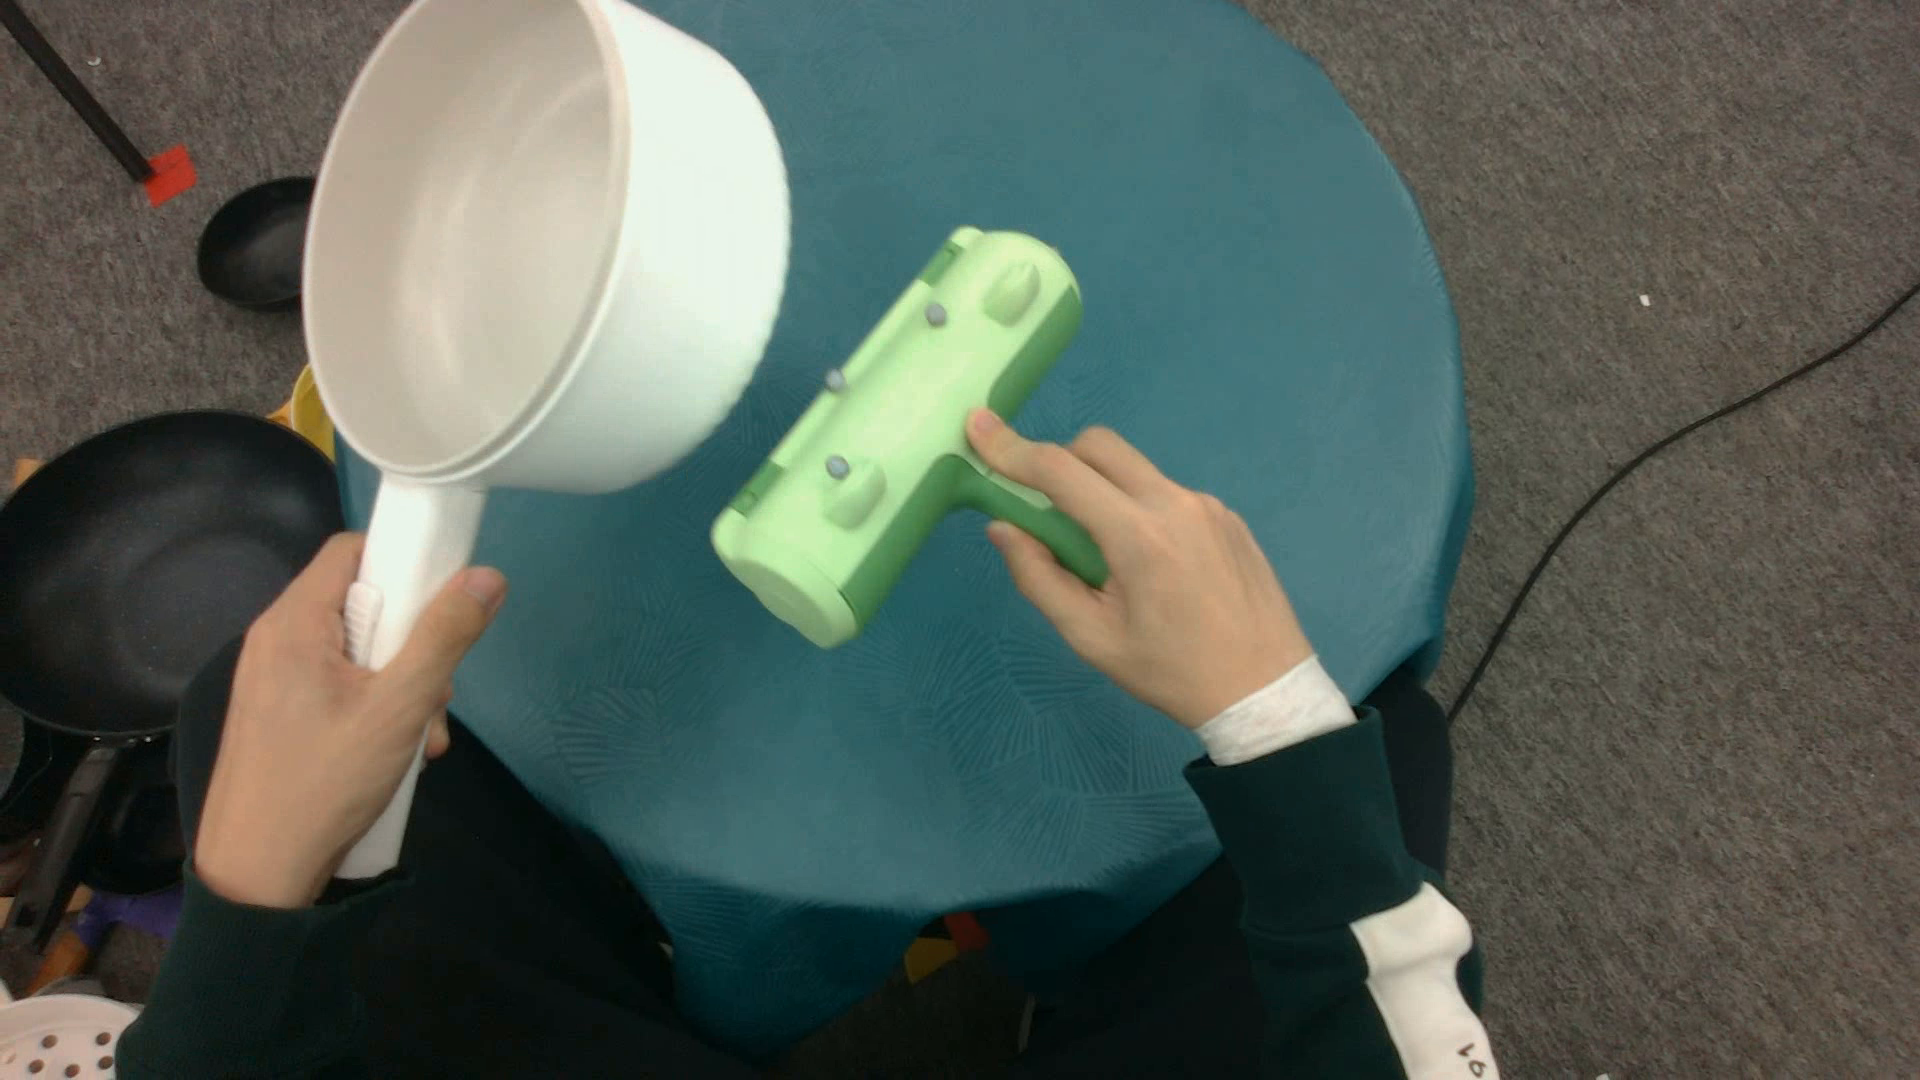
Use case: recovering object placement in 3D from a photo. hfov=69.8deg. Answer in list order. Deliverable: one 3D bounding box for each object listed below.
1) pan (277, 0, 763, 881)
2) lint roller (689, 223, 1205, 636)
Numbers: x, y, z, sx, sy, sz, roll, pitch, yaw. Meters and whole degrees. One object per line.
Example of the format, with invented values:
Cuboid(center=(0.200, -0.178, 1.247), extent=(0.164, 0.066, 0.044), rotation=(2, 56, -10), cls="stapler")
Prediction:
Cuboid(center=(-0.187, -0.042, 0.556), extent=(0.201, 0.102, 0.354), rotation=(14, 95, 35), cls="pan")
Cuboid(center=(0.021, -0.029, 0.546), extent=(0.183, 0.082, 0.199), rotation=(29, 61, 12), cls="lint roller")
